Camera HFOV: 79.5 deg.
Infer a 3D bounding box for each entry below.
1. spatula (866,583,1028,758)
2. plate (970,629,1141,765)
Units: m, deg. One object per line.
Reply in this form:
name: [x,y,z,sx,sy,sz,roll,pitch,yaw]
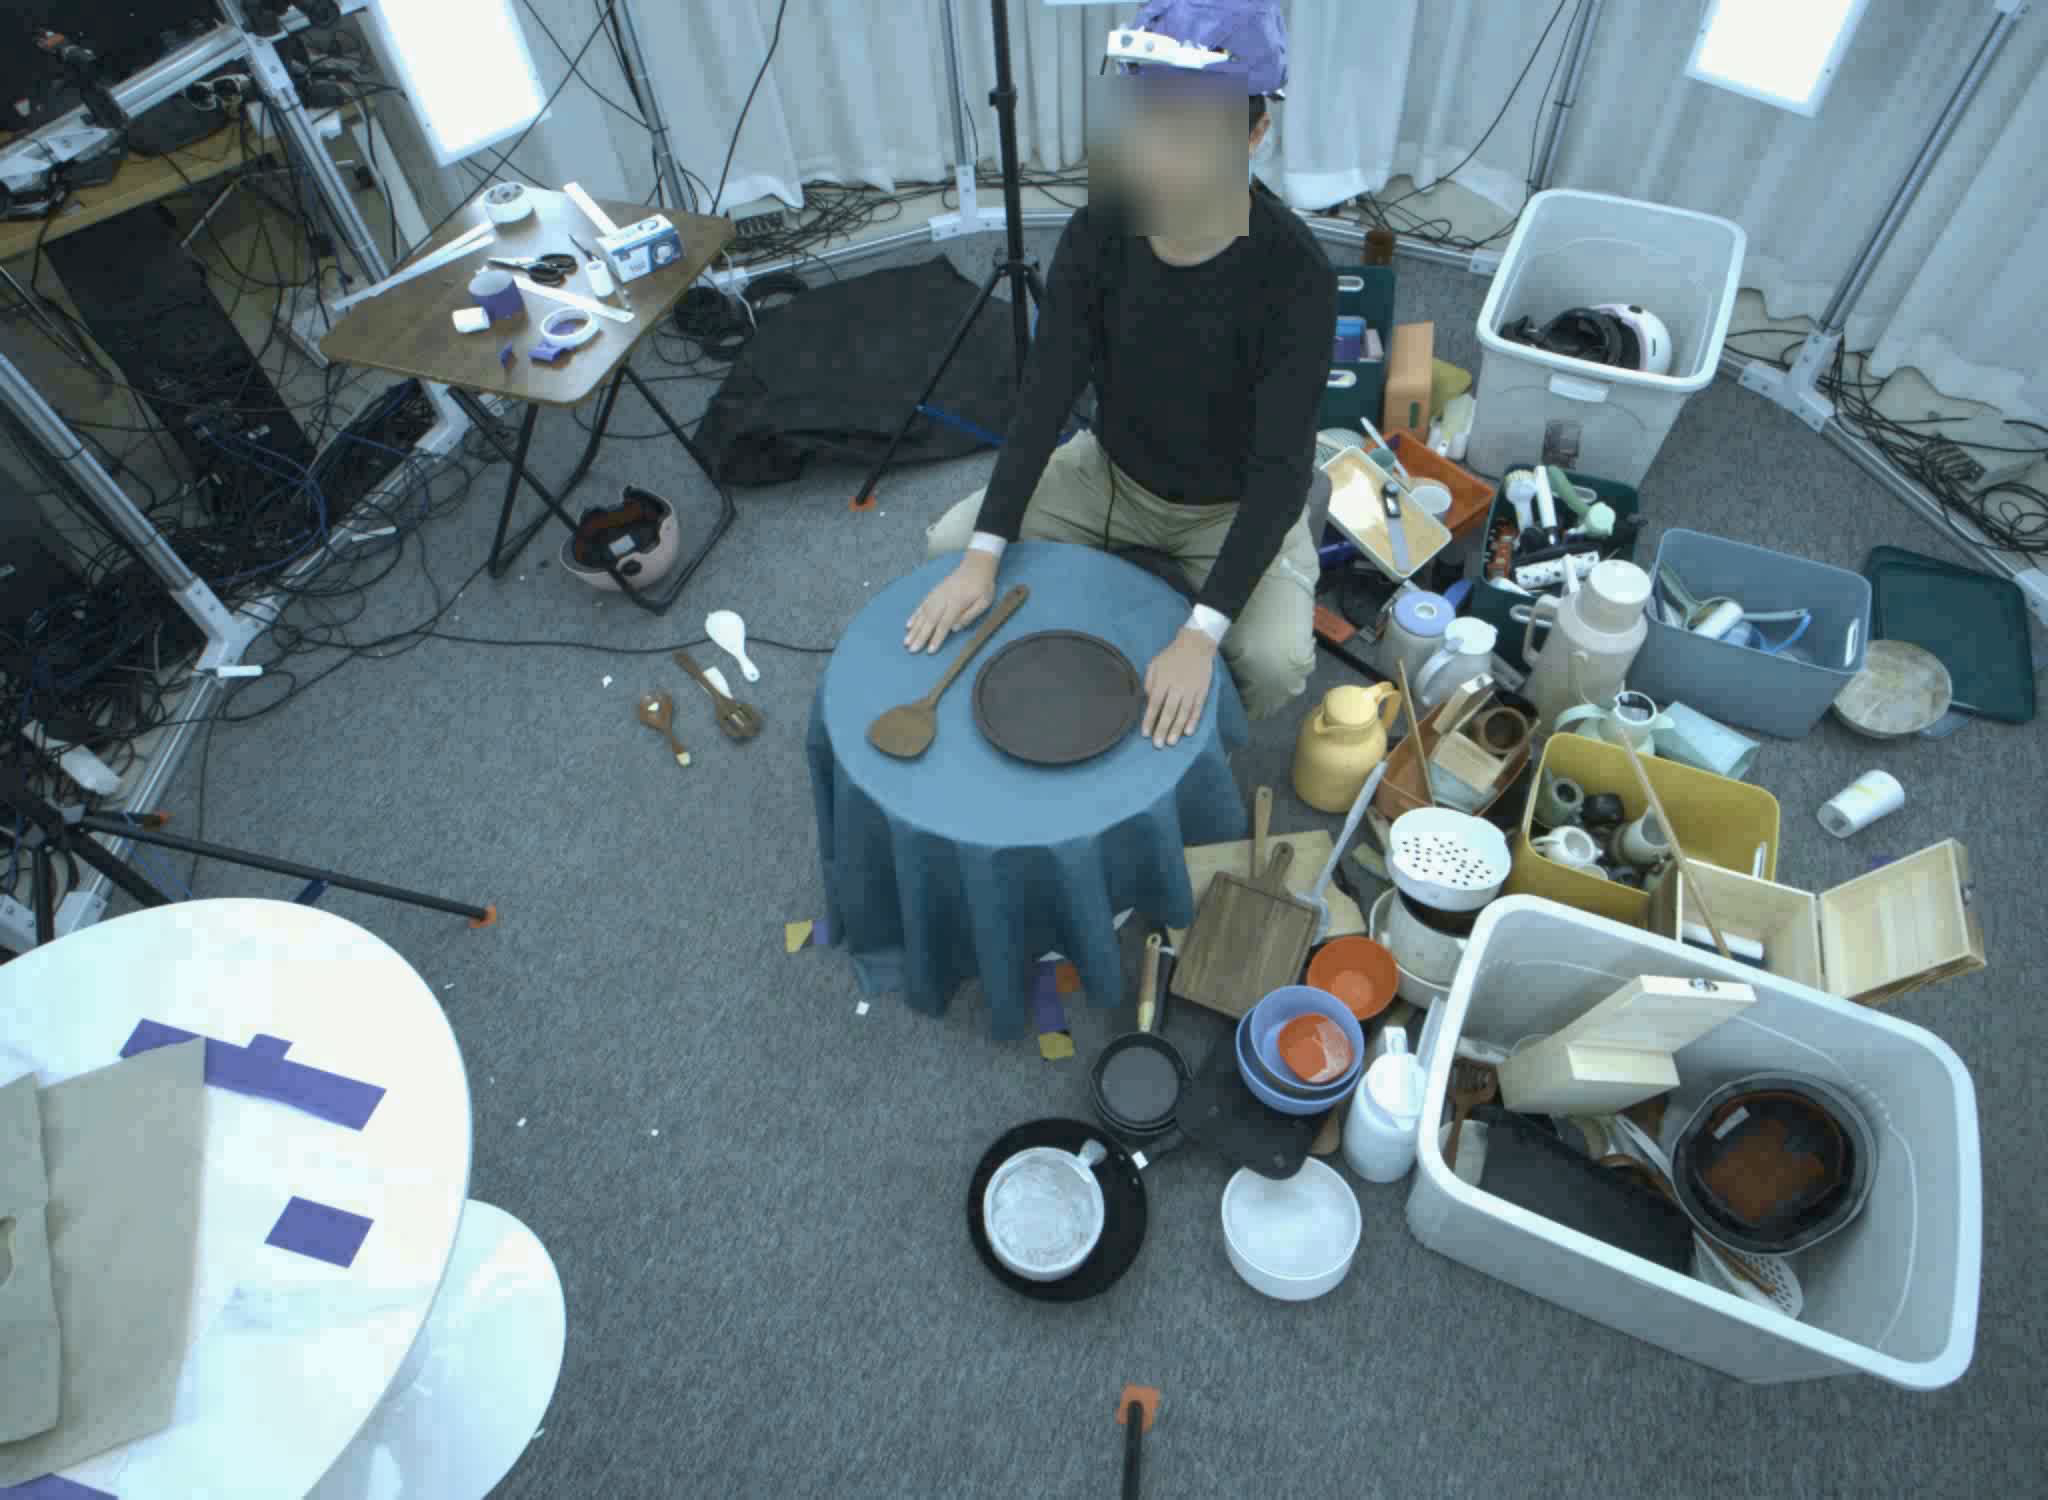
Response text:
spatula: [-0.101,-0.132,1.876,0.095,0.016,0.387,26,60,18]
plate: [0.047,-0.080,1.828,0.254,0.029,0.252,-1,54,3]
